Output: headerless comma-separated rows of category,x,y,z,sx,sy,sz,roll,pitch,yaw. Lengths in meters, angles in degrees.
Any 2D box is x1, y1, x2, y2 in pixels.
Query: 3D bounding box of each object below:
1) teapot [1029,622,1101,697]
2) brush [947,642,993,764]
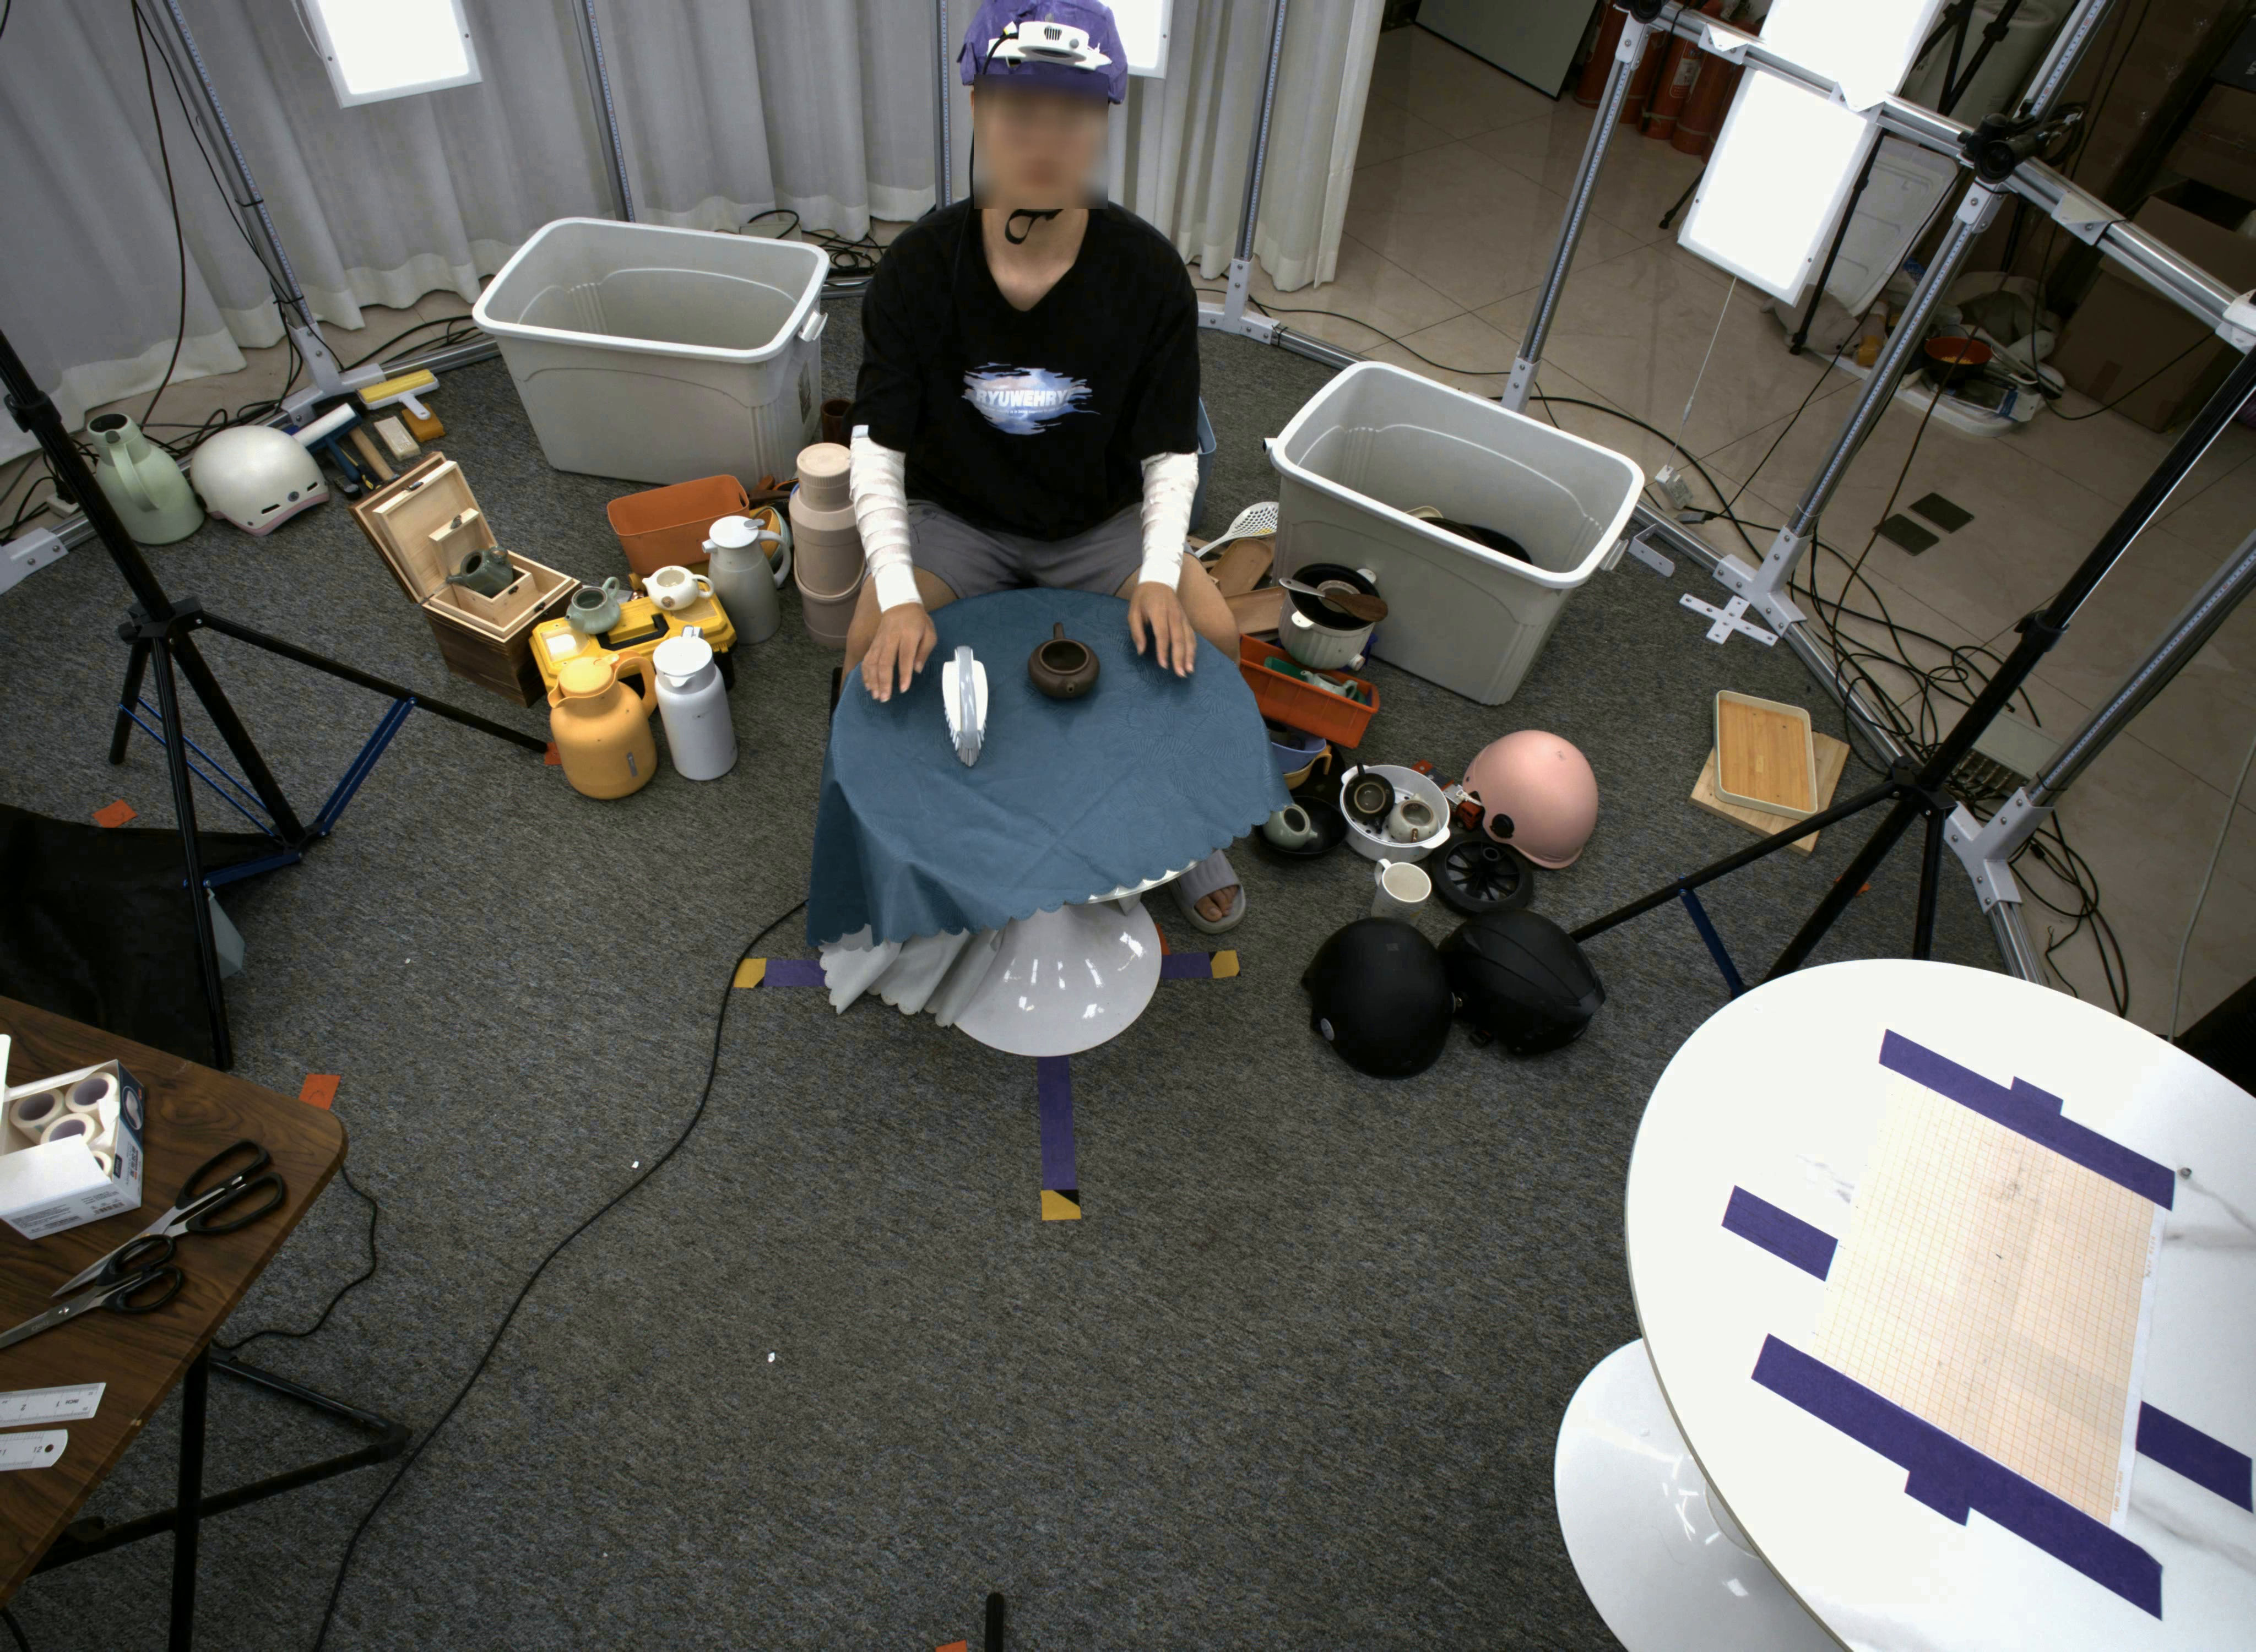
teapot,-0.091,-0.232,1.832,0.102,0.052,0.157,-8,50,-12
brush,-0.216,-0.176,1.753,0.061,0.092,0.180,-5,52,-4
